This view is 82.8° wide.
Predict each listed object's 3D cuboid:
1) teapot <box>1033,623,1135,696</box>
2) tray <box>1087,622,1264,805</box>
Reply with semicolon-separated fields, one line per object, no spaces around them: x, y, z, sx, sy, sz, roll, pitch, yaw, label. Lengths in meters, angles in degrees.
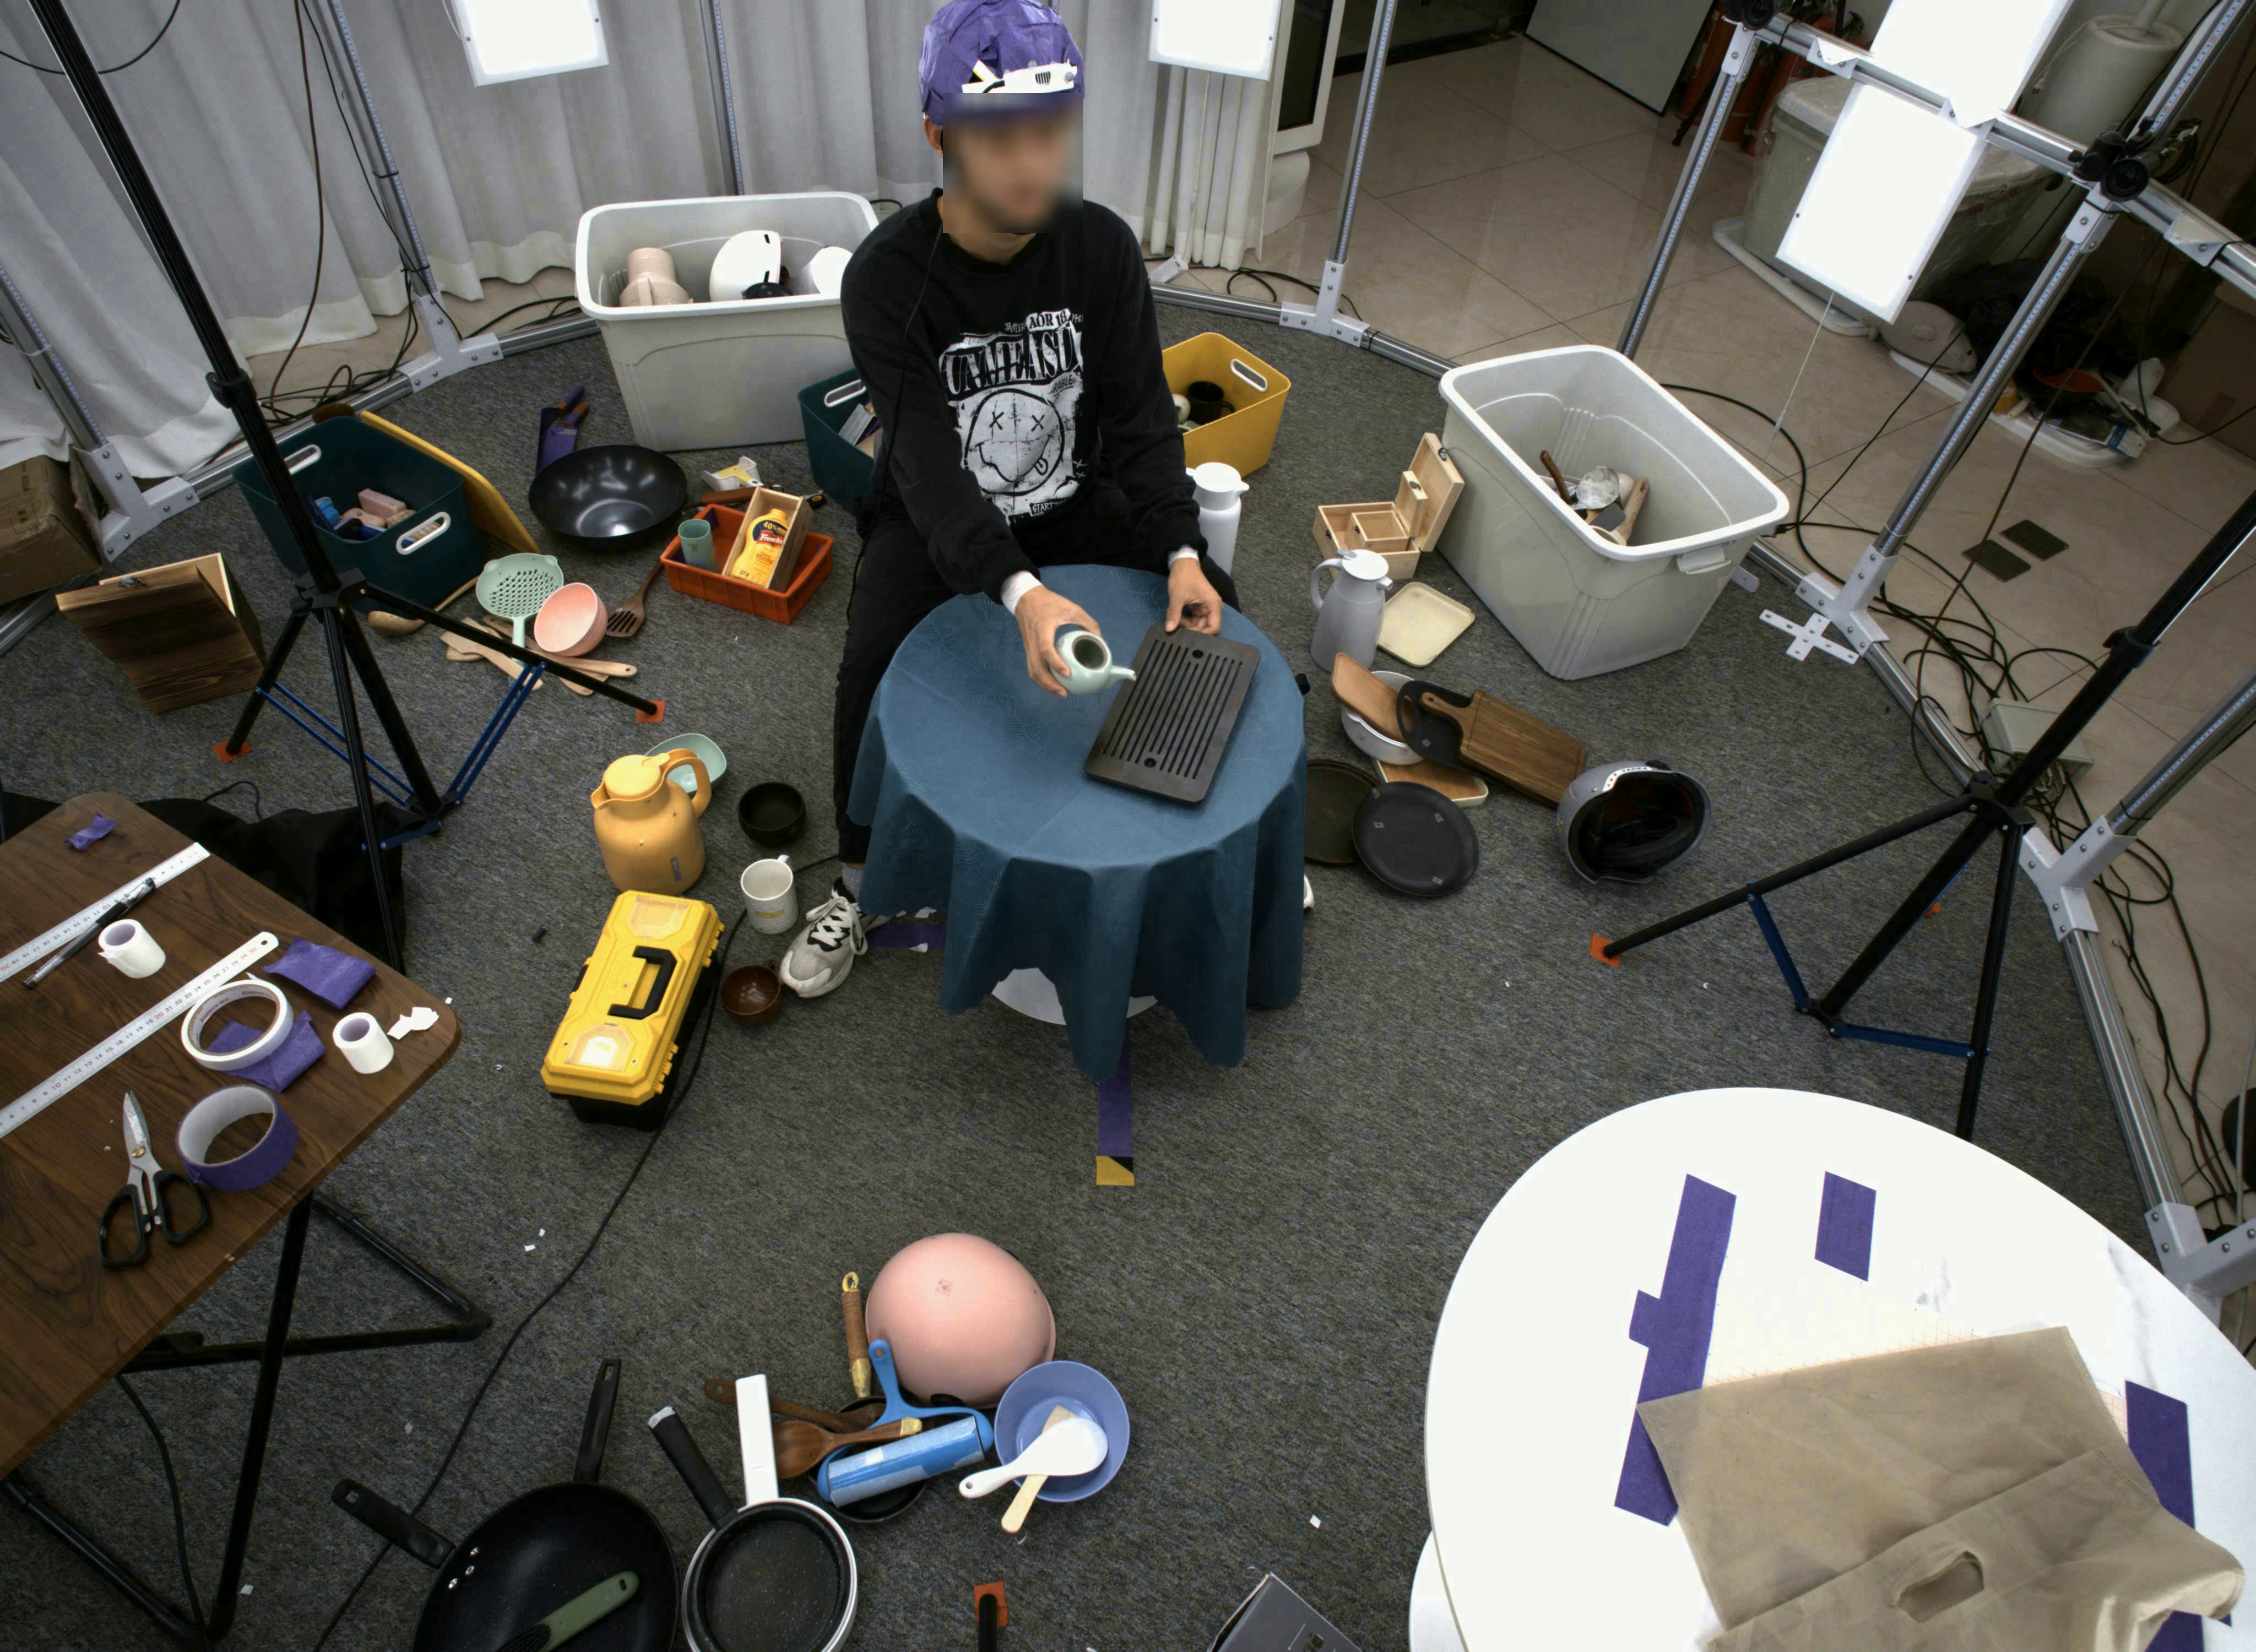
-0.066;-0.218;1.708;0.142;0.074;0.090;30;55;-14;teapot
0.071;-0.161;1.789;0.171;0.018;0.312;15;53;12;tray
